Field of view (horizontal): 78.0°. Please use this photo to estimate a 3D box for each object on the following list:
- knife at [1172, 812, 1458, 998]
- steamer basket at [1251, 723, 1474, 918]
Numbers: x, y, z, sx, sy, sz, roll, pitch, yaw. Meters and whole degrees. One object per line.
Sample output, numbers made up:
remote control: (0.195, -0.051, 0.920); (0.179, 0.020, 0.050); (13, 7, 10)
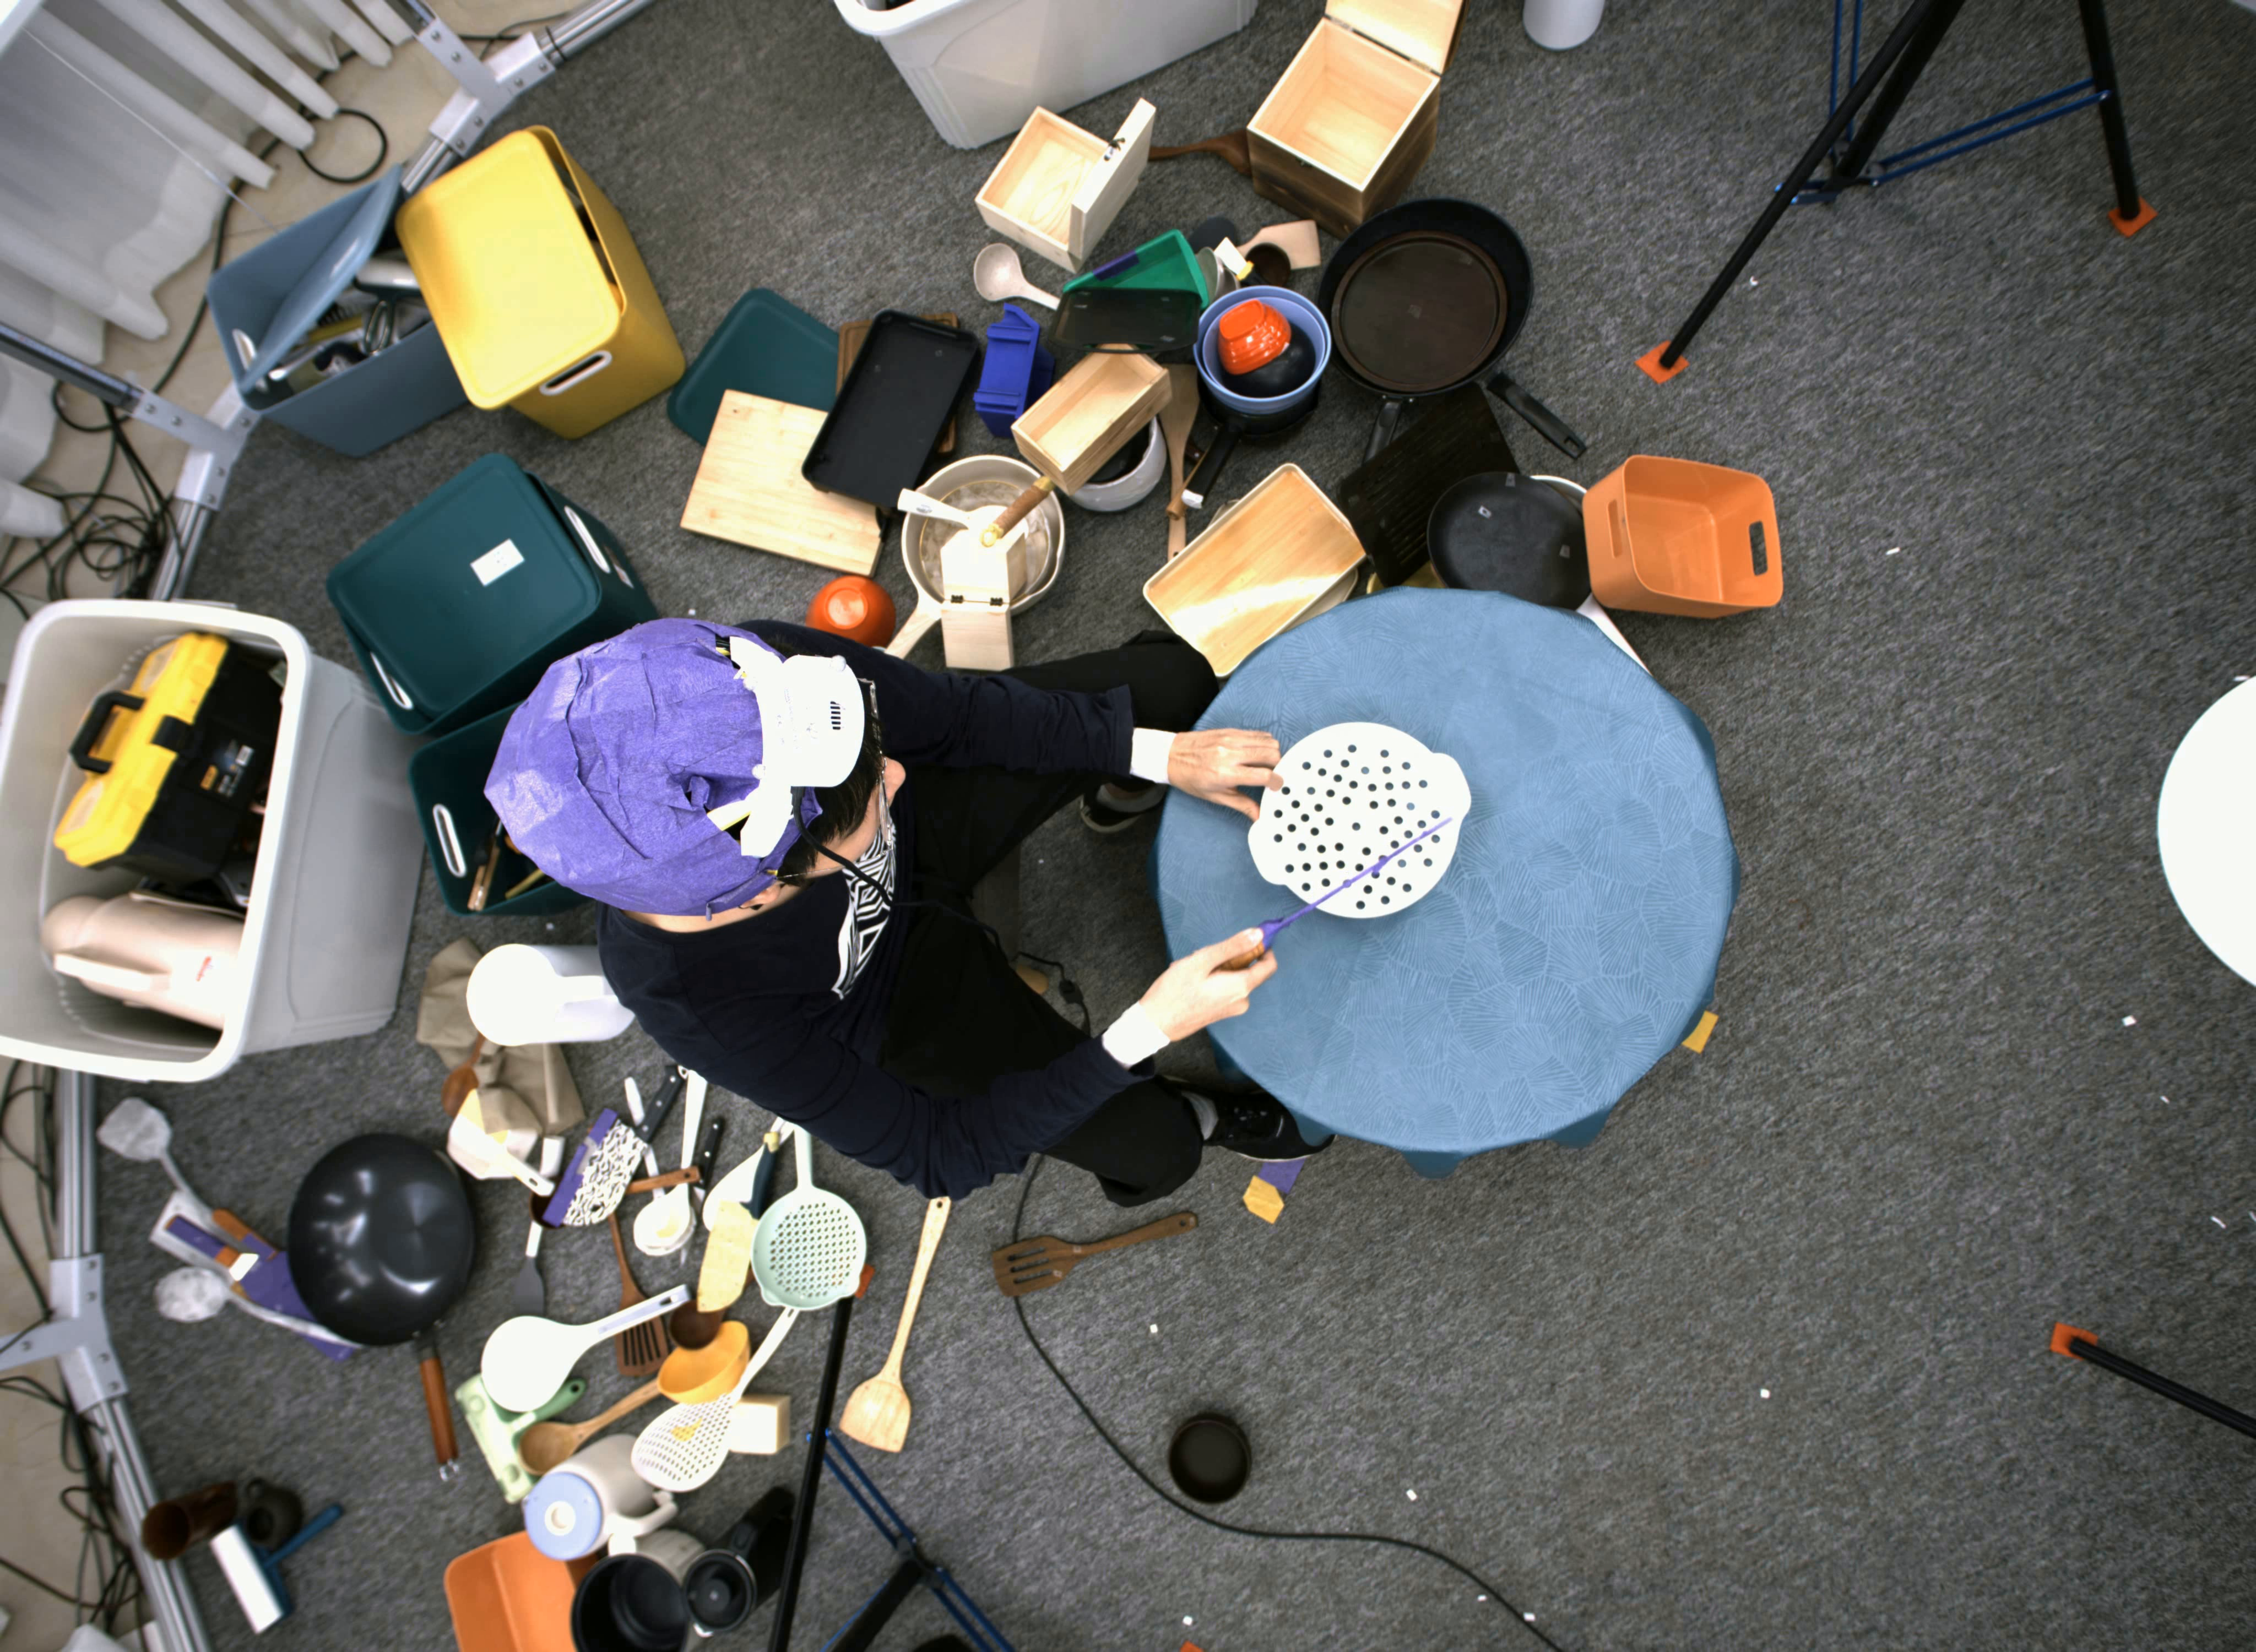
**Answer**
knife: (0.183, 0.077, 1.346); (0.315, 0.105, 0.032); (-30, 79, -3)
steamer basket: (0.243, -0.004, 1.433); (0.232, 0.069, 0.200); (-21, 82, 8)
